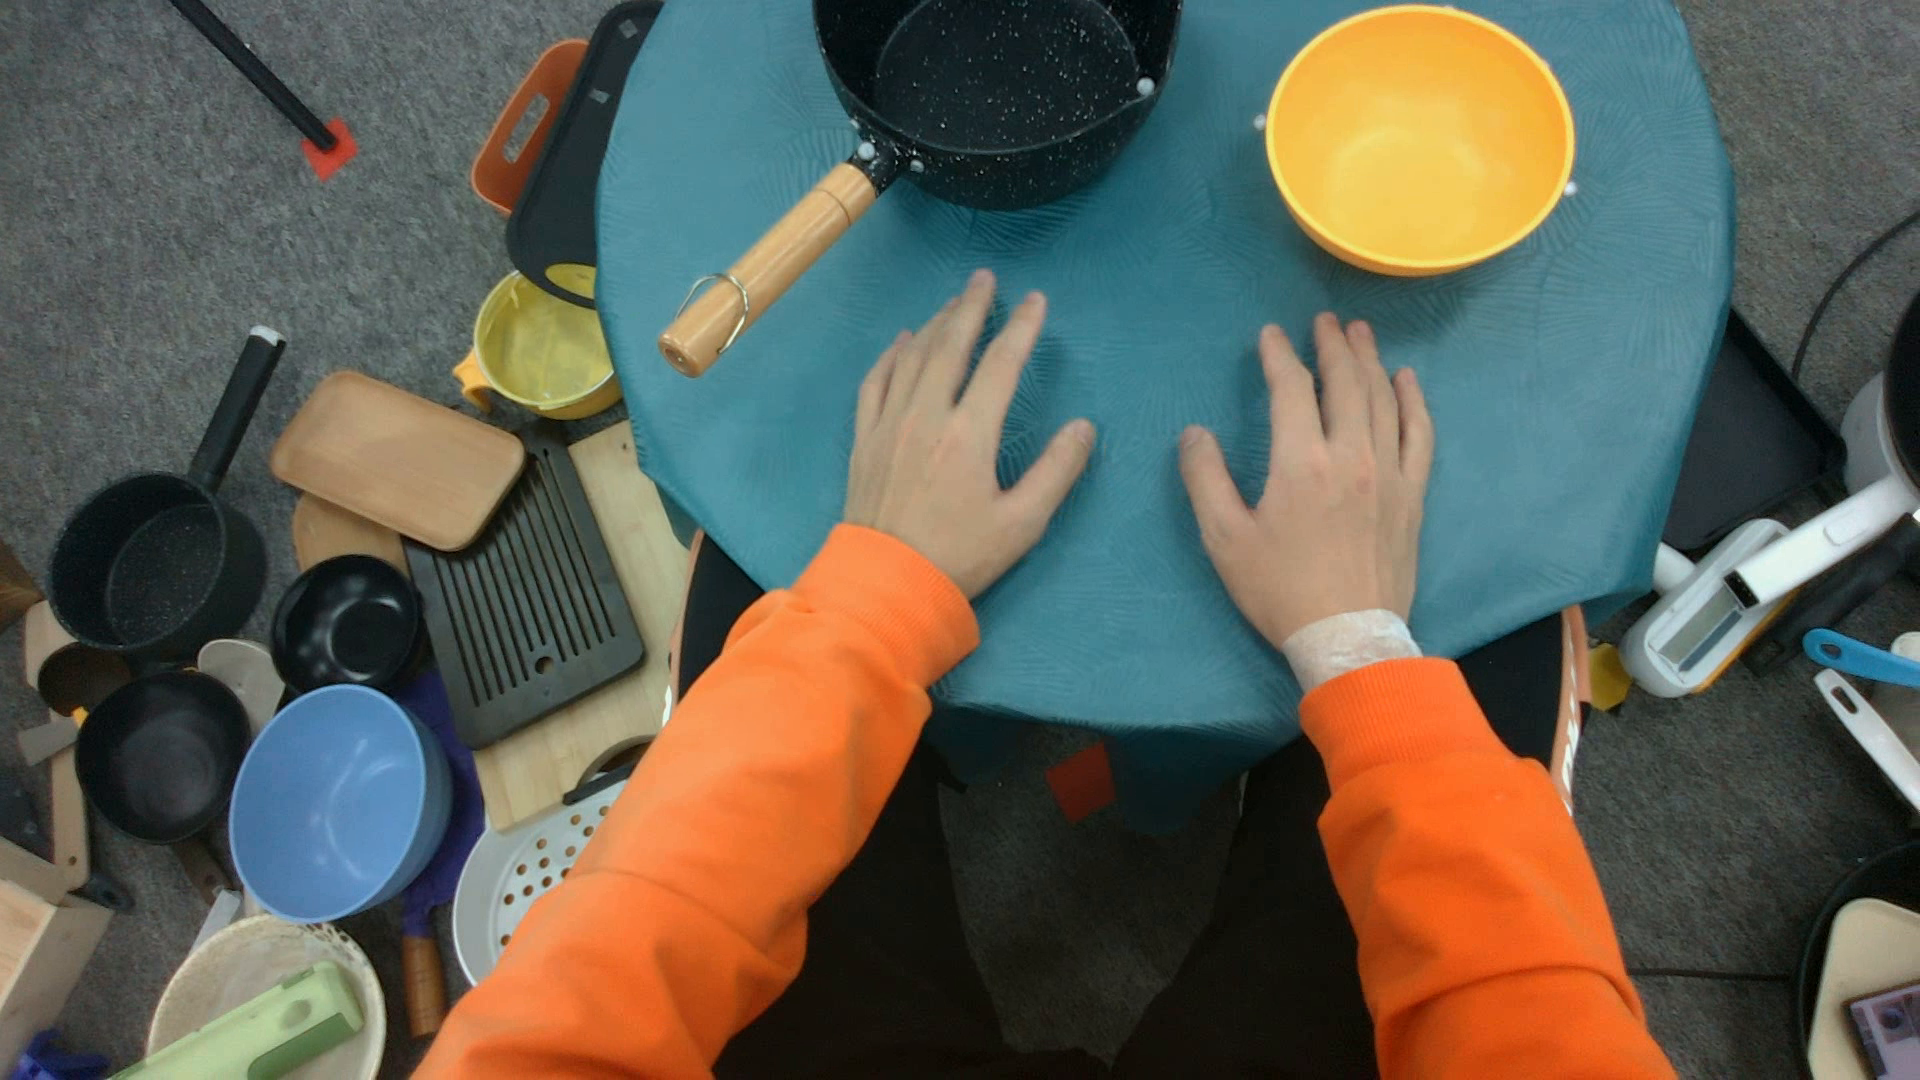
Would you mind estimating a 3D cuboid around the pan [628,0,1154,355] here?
[{"bbox_3d":[-0.038,-0.209,0.695,0.207,0.108,0.343,33,77,11],"label":"pan"}]

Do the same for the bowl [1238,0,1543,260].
[{"bbox_3d":[0.213,-0.198,0.699,0.145,0.060,0.145,-1,74,5],"label":"bowl"}]
